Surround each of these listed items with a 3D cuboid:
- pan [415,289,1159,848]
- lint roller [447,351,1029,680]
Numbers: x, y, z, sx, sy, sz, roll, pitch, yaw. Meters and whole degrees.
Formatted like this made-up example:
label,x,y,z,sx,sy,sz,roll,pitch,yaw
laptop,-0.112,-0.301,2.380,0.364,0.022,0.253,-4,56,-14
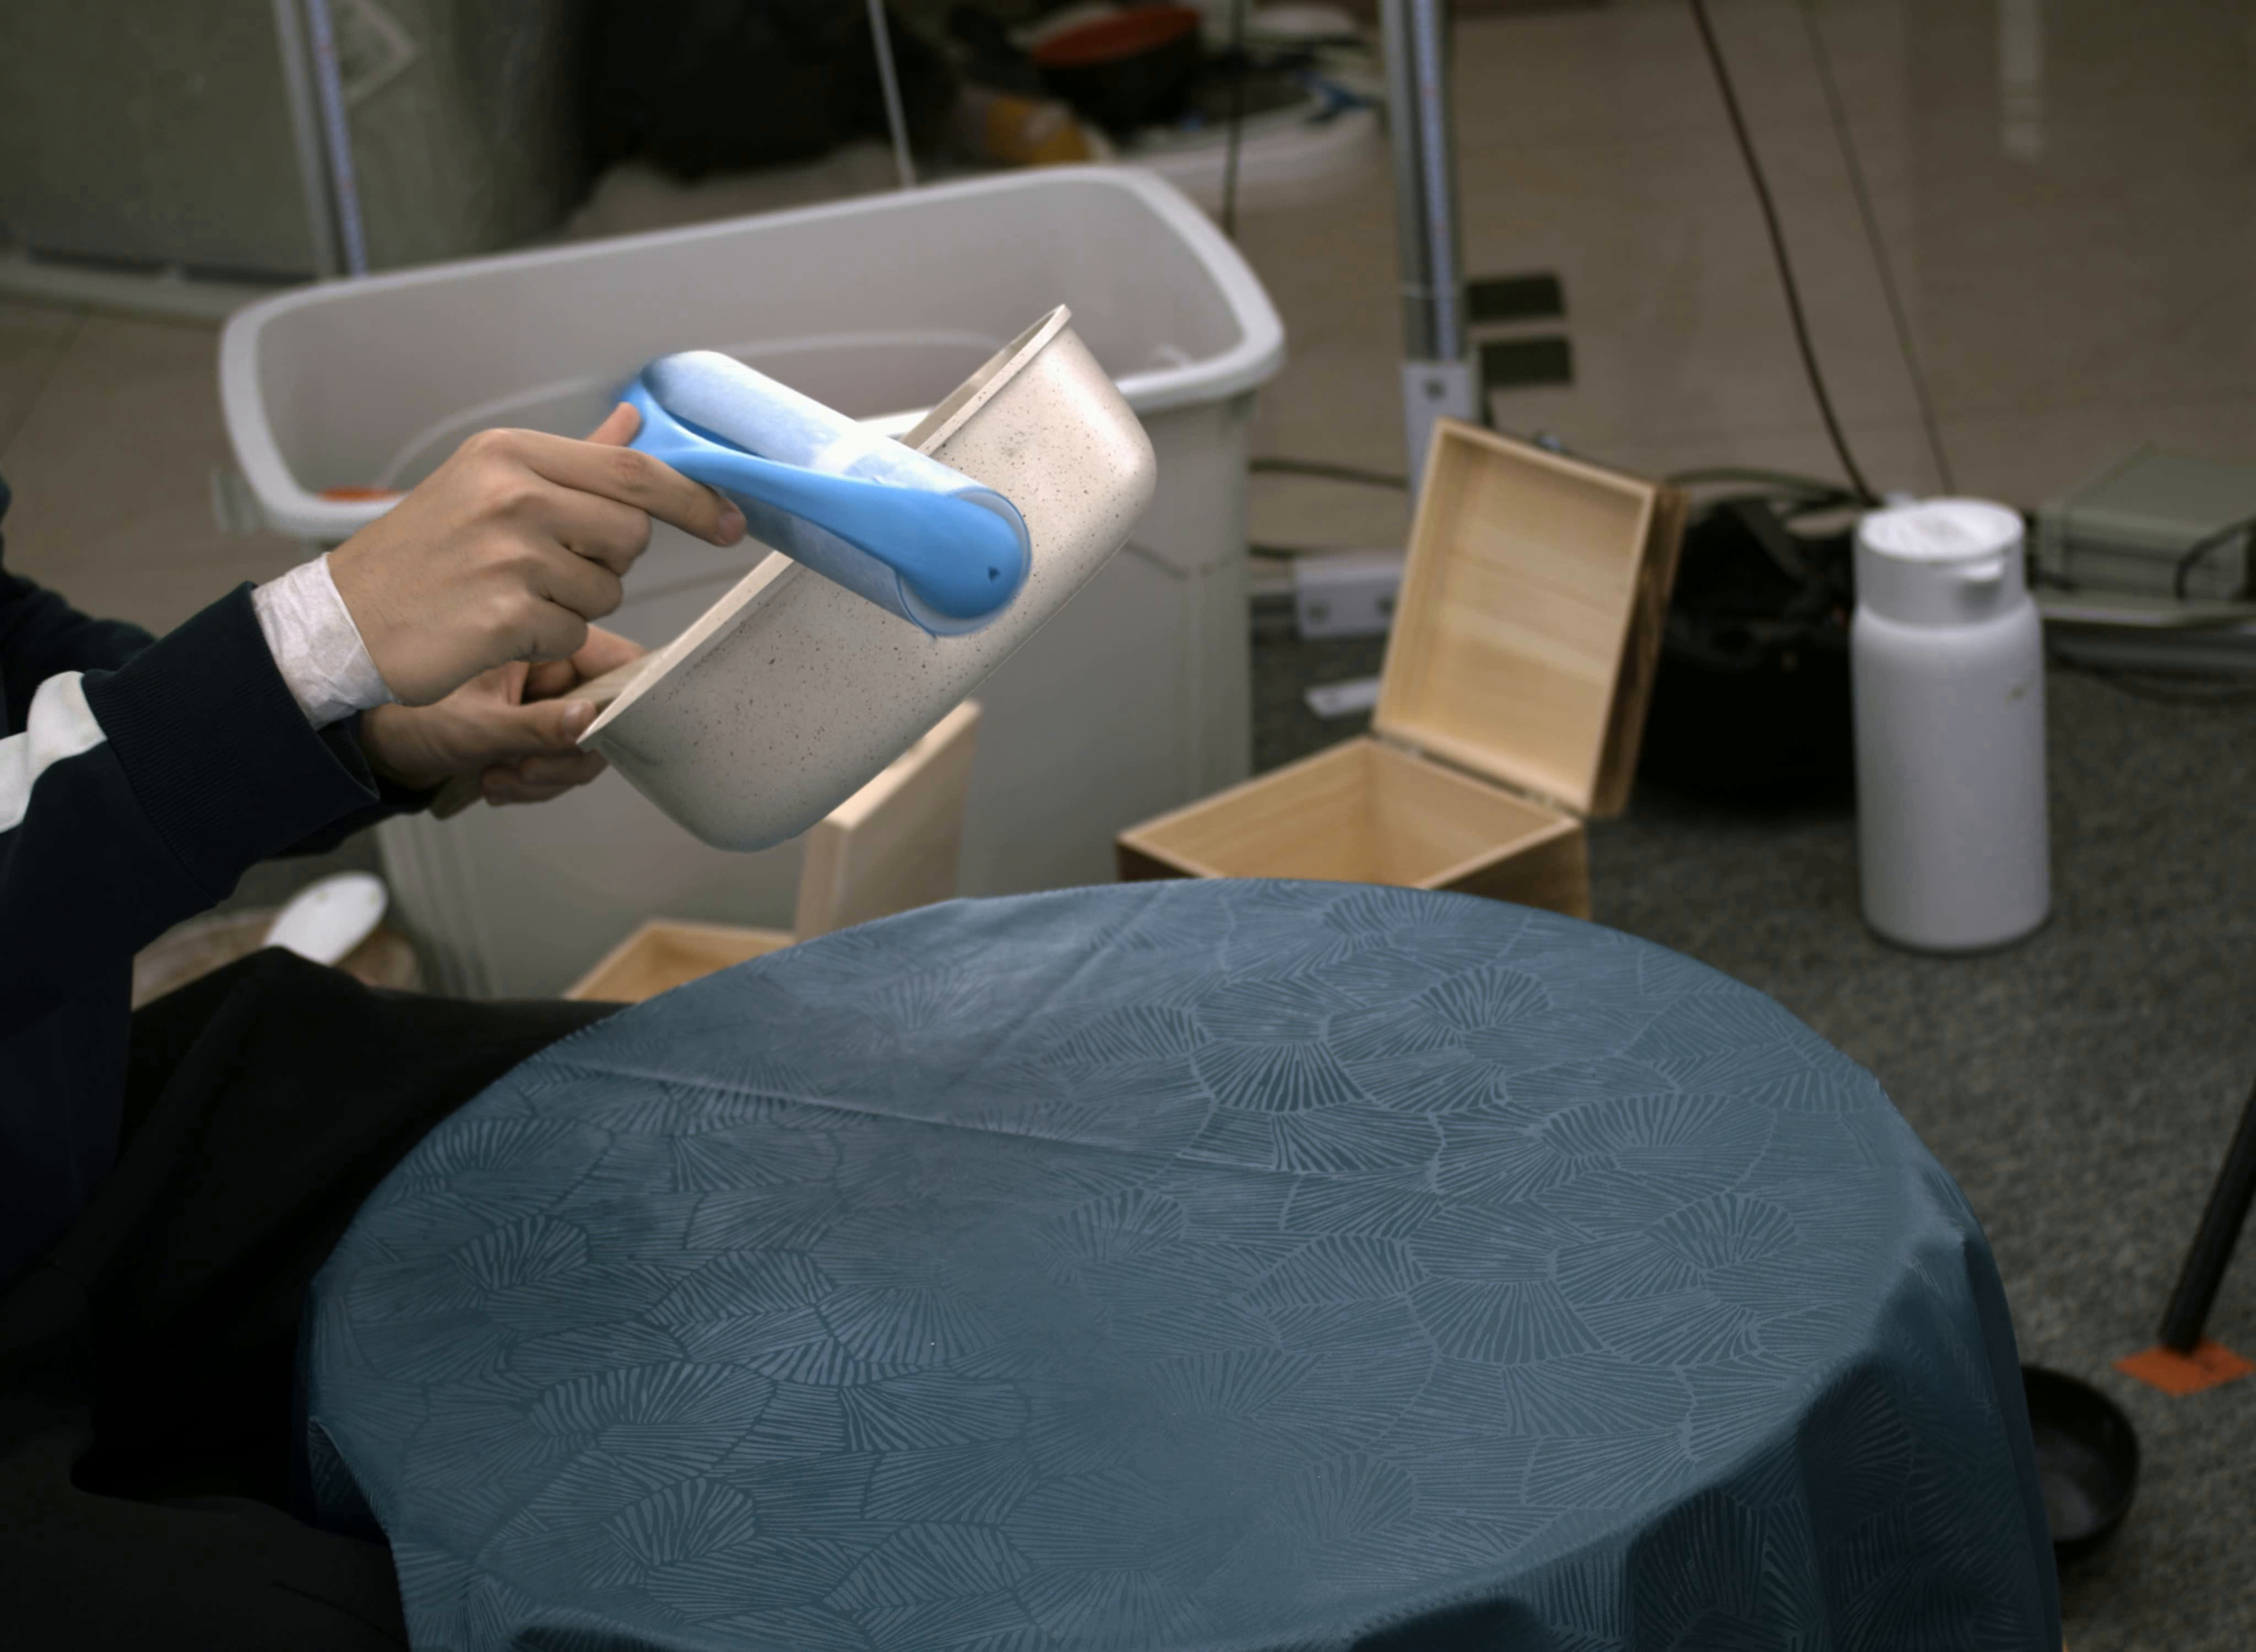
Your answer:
label,x,y,z,sx,sy,sz,roll,pitch,yaw
pan,-0.144,-0.060,2.225,0.439,0.102,0.260,-35,10,49
lint roller,-0.157,-0.105,1.961,0.179,0.069,0.226,-20,29,-31
